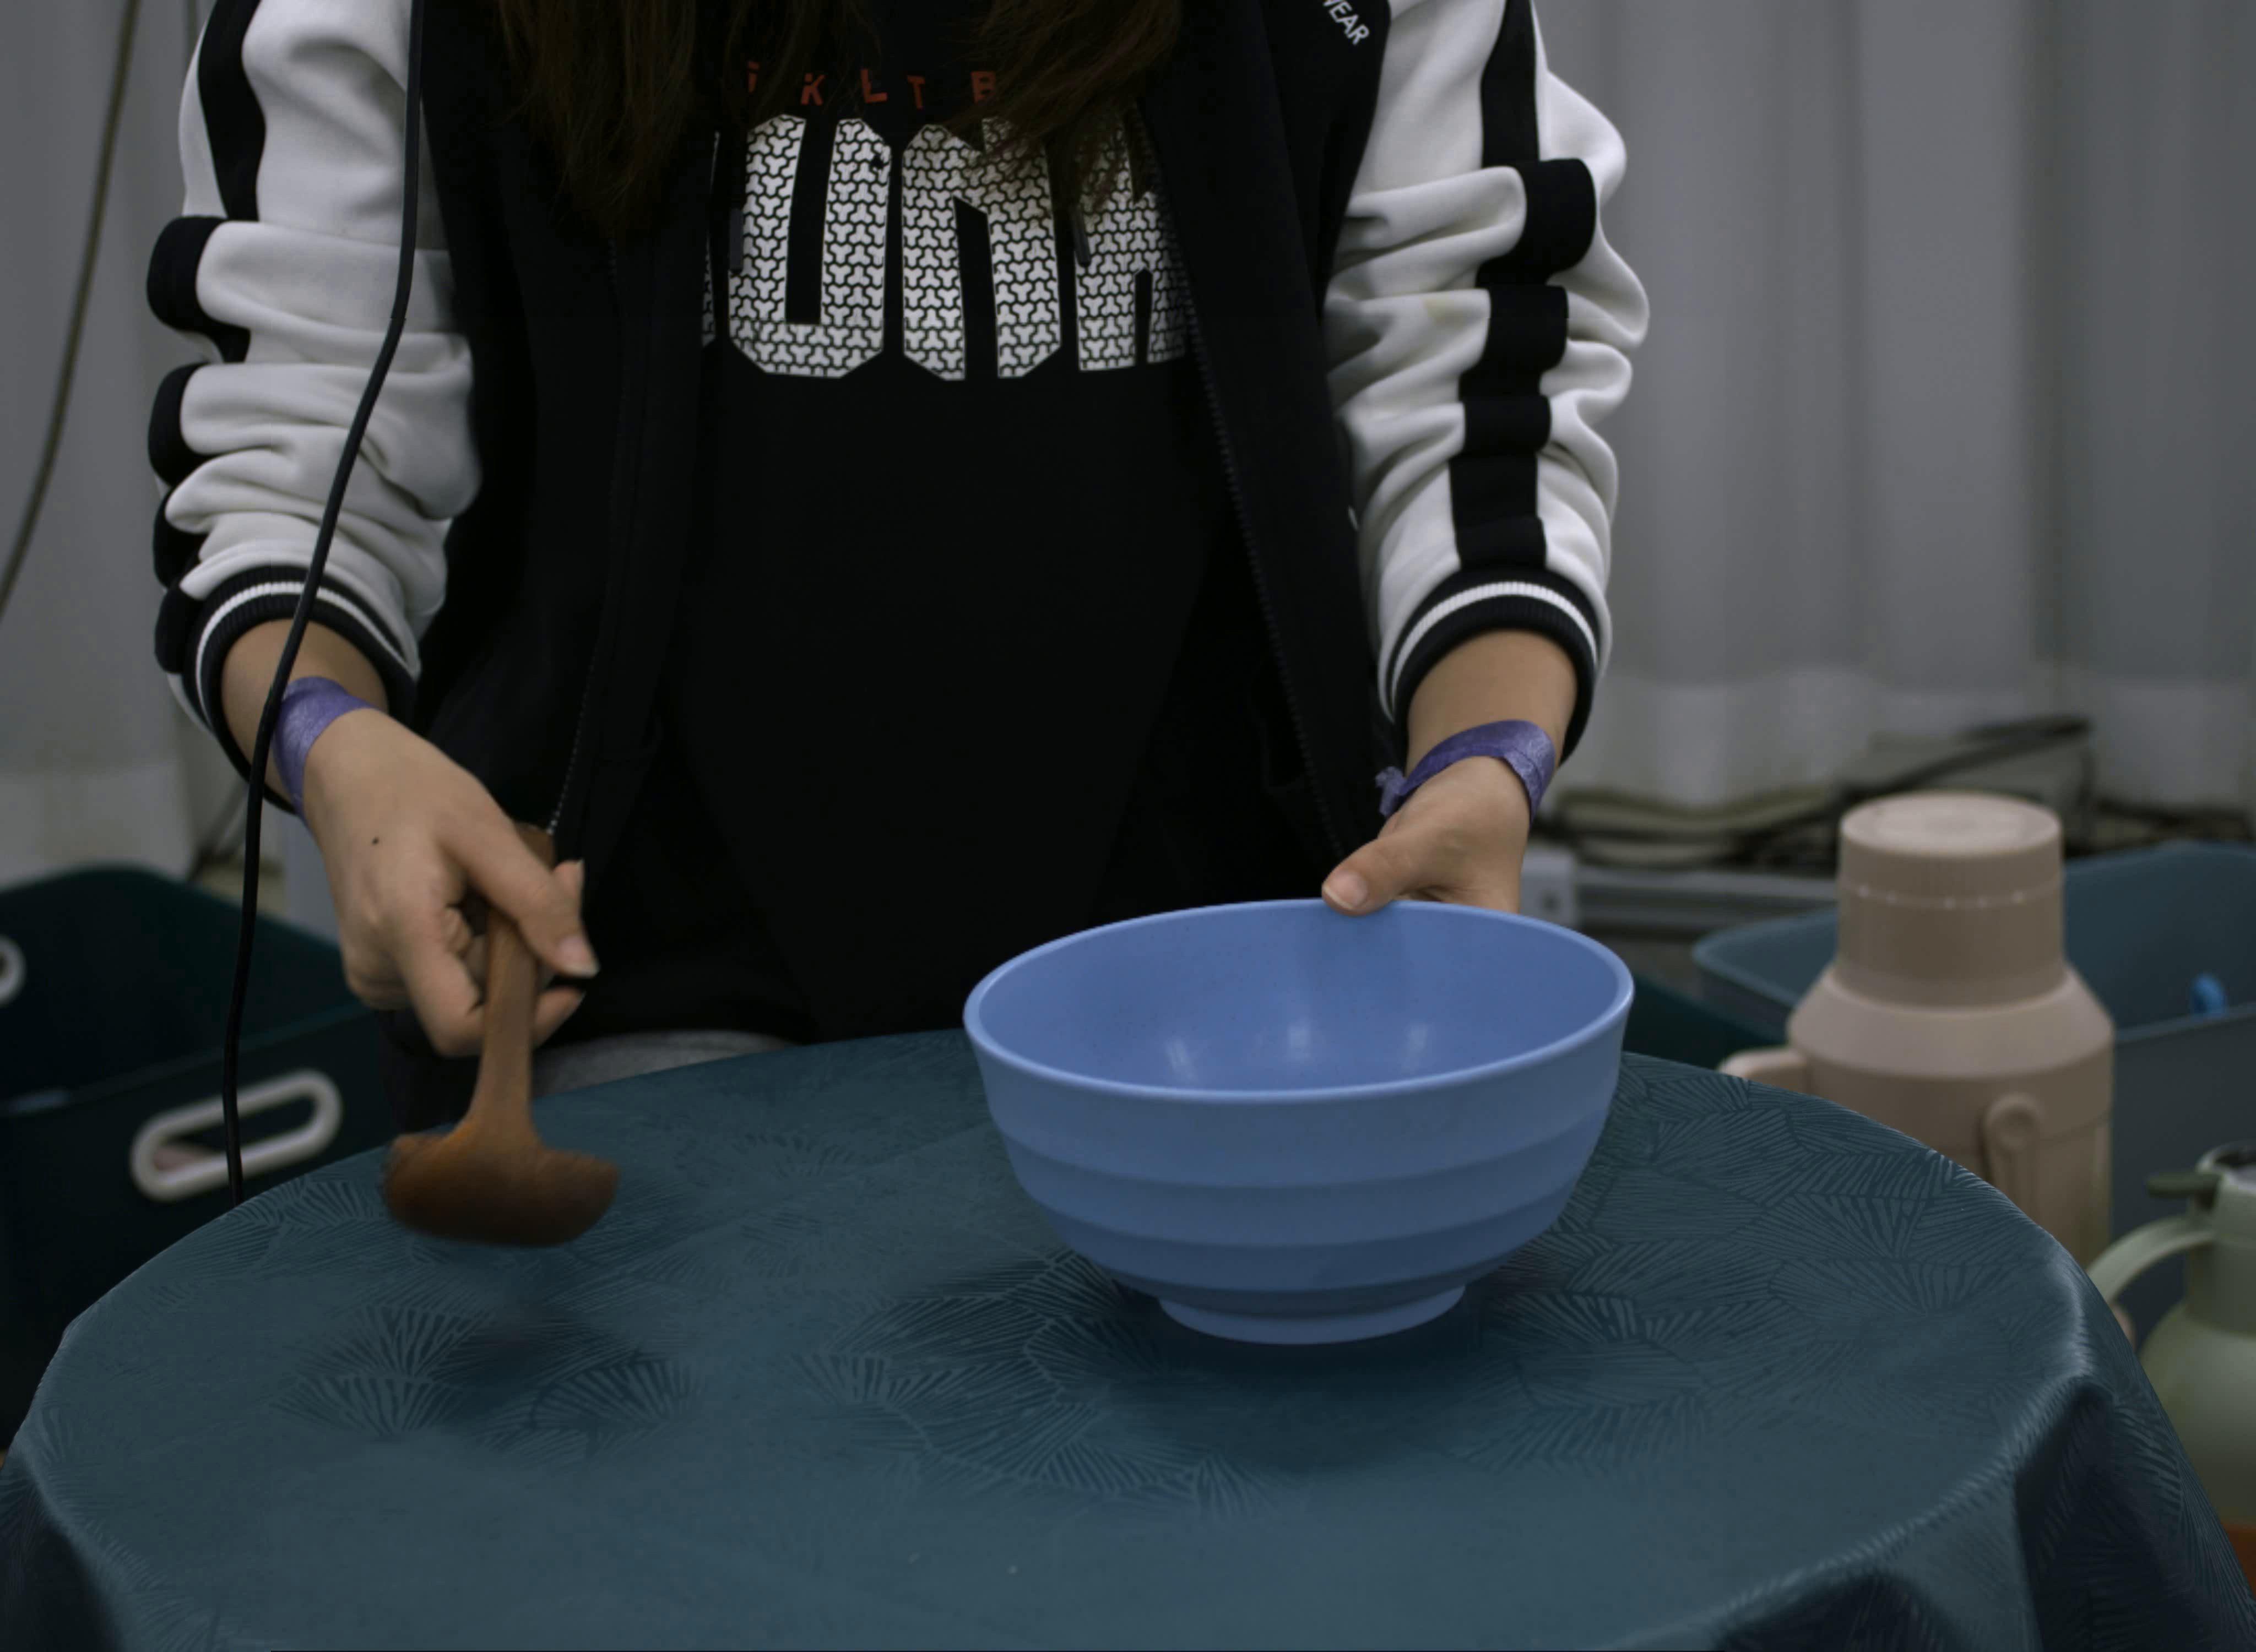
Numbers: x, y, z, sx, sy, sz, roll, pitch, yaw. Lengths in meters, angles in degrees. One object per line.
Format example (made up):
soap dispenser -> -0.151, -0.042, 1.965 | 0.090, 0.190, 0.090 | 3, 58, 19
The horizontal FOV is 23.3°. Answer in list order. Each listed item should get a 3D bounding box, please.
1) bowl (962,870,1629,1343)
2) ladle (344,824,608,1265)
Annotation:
bowl -> 0.054, 0.091, 1.613 | 0.196, 0.095, 0.198 | -7, 19, 2
ladle -> -0.193, 0.053, 1.675 | 0.076, 0.064, 0.264 | 12, 31, -9
